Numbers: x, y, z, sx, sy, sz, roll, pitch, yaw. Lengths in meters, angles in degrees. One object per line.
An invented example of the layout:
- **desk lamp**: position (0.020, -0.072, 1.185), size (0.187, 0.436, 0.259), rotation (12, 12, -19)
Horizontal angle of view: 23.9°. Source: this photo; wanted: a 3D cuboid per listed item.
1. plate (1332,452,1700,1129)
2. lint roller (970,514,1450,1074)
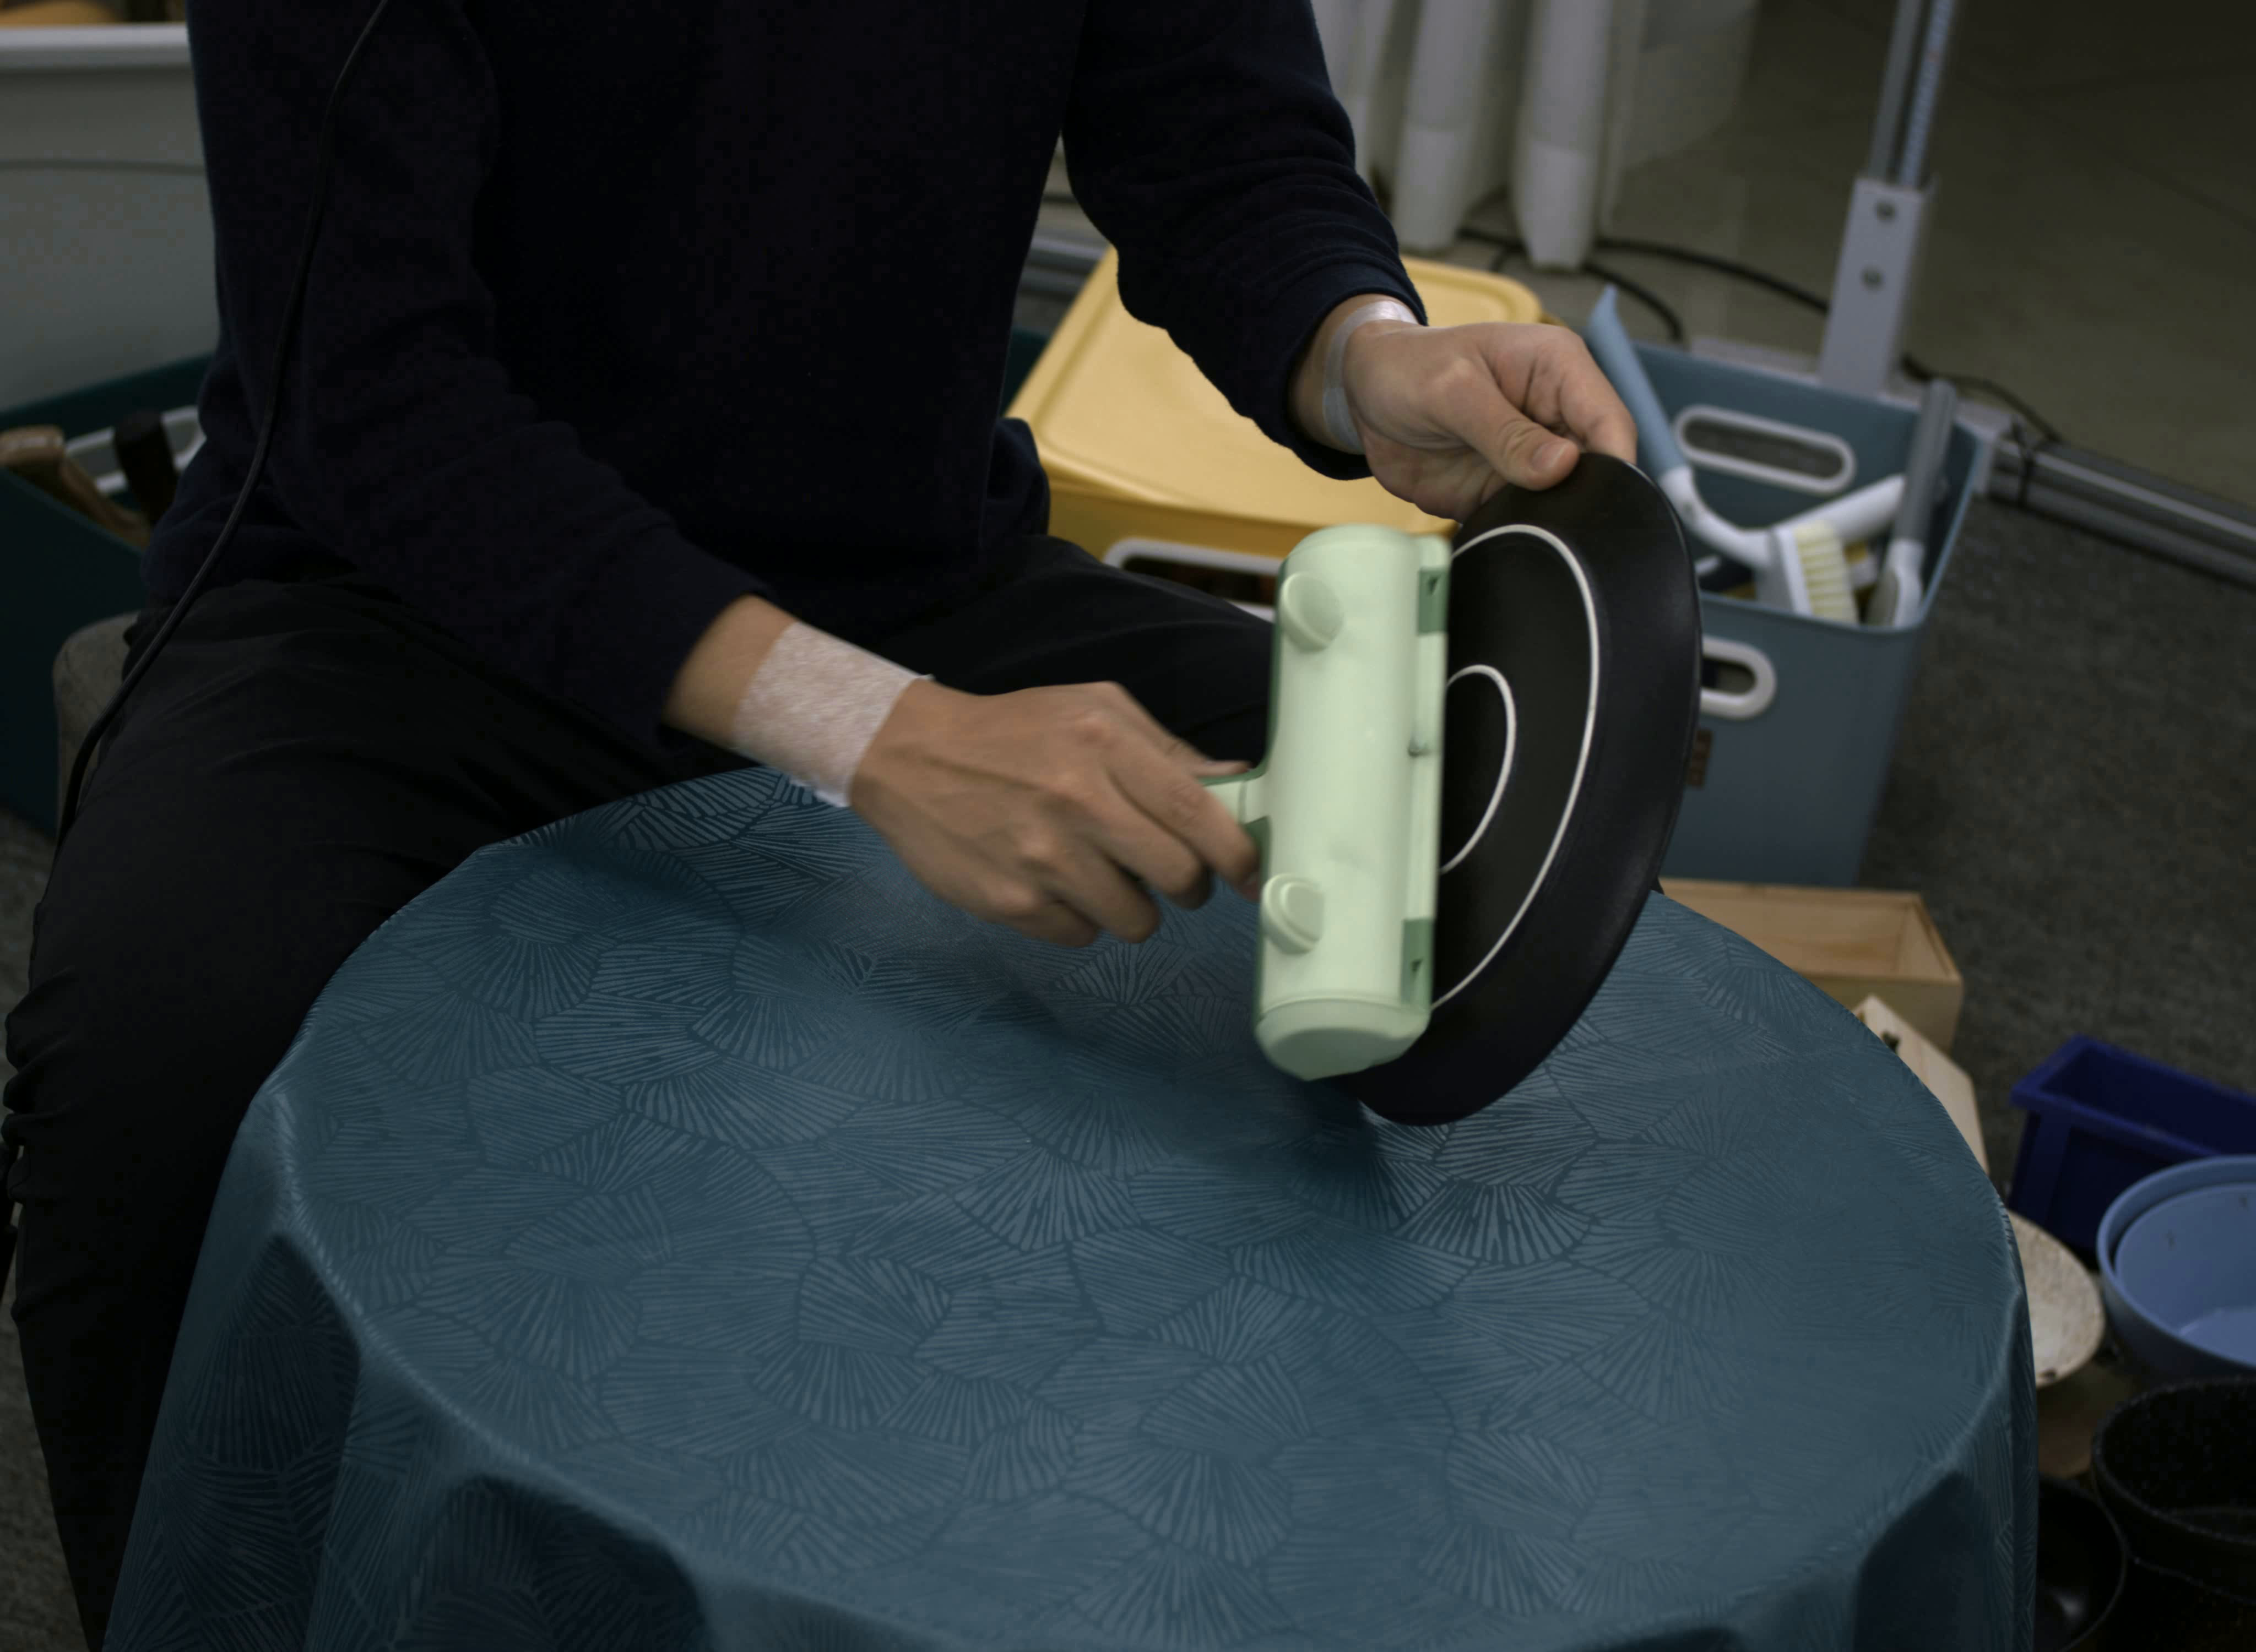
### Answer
- **plate**: position (0.120, -0.015, 1.843), size (0.023, 0.244, 0.246), rotation (18, 21, -24)
- **lint roller**: position (0.022, -0.011, 1.854), size (0.183, 0.081, 0.200), rotation (-5, 62, 17)
